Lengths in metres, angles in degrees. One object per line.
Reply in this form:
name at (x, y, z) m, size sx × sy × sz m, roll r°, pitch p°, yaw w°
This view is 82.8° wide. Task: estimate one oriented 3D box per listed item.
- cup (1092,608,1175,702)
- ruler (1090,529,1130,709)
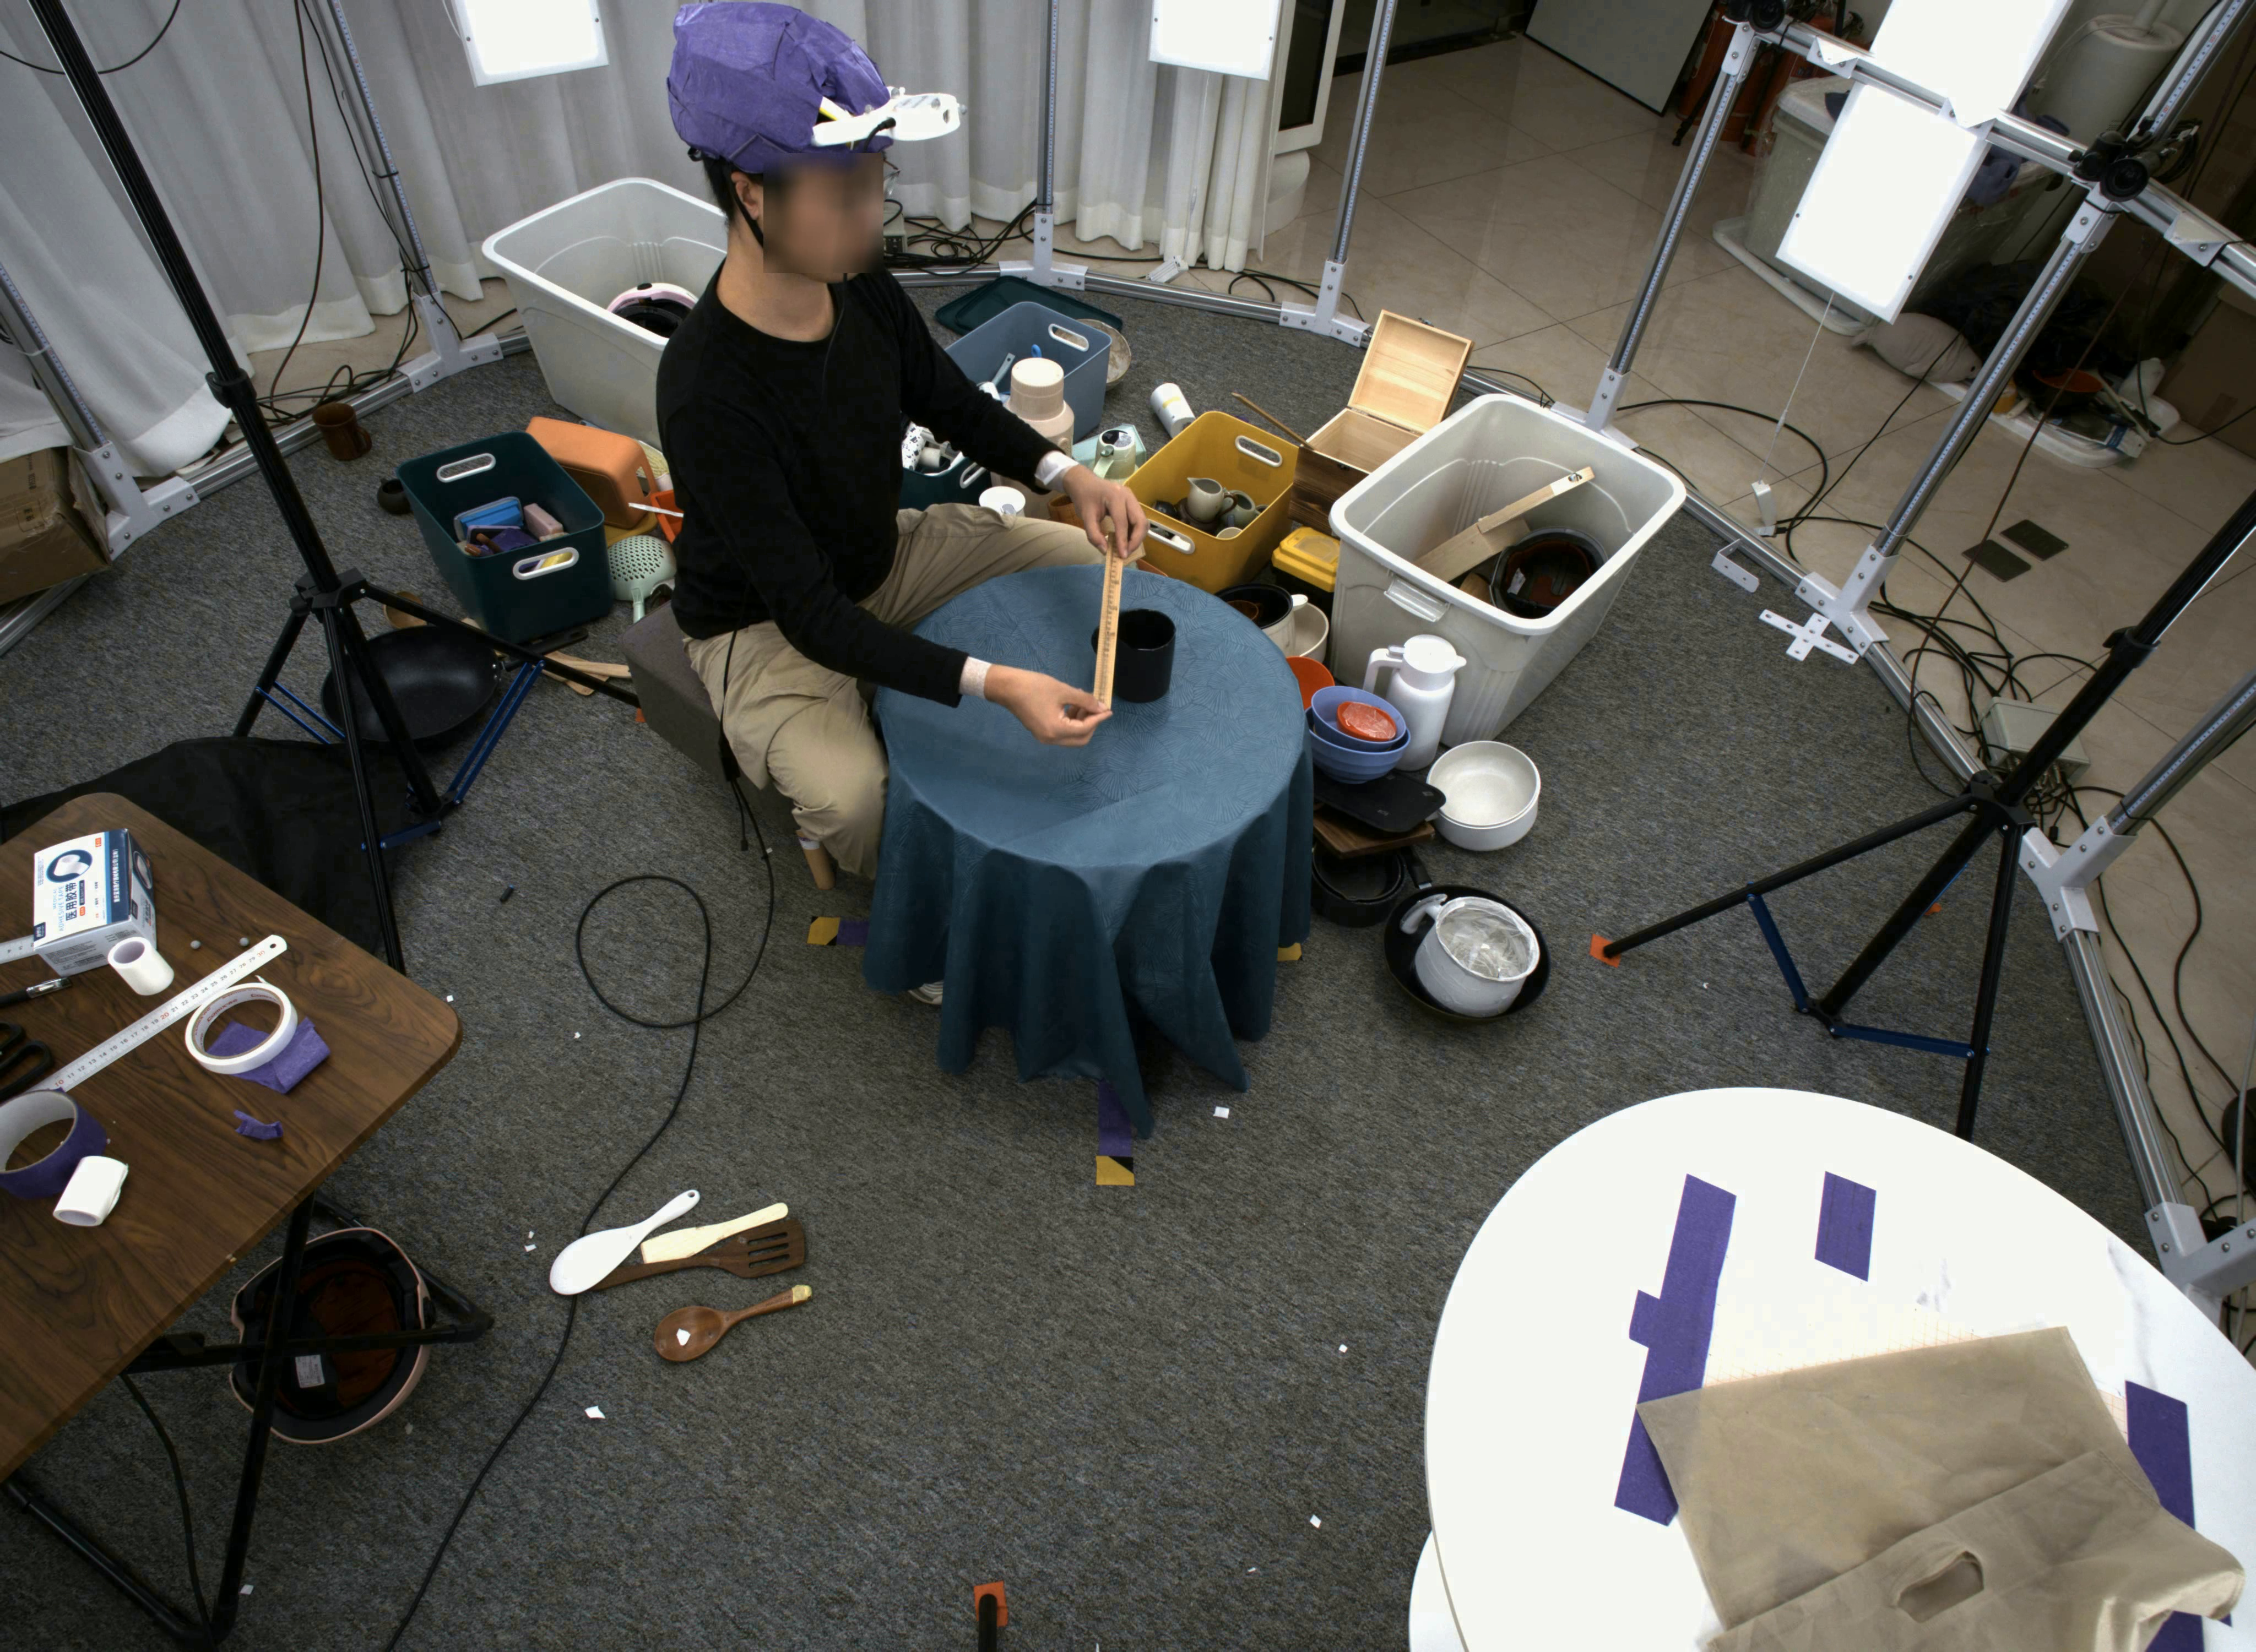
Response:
cup at (0.004, -0.248, 1.819) m, size 0.124 × 0.103 × 0.090 m, roll 26°, pitch 54°, yaw 16°
ruler at (-0.024, -0.294, 1.769) m, size 0.027 × 0.022 × 0.340 m, roll 13°, pitch 53°, yaw -8°
